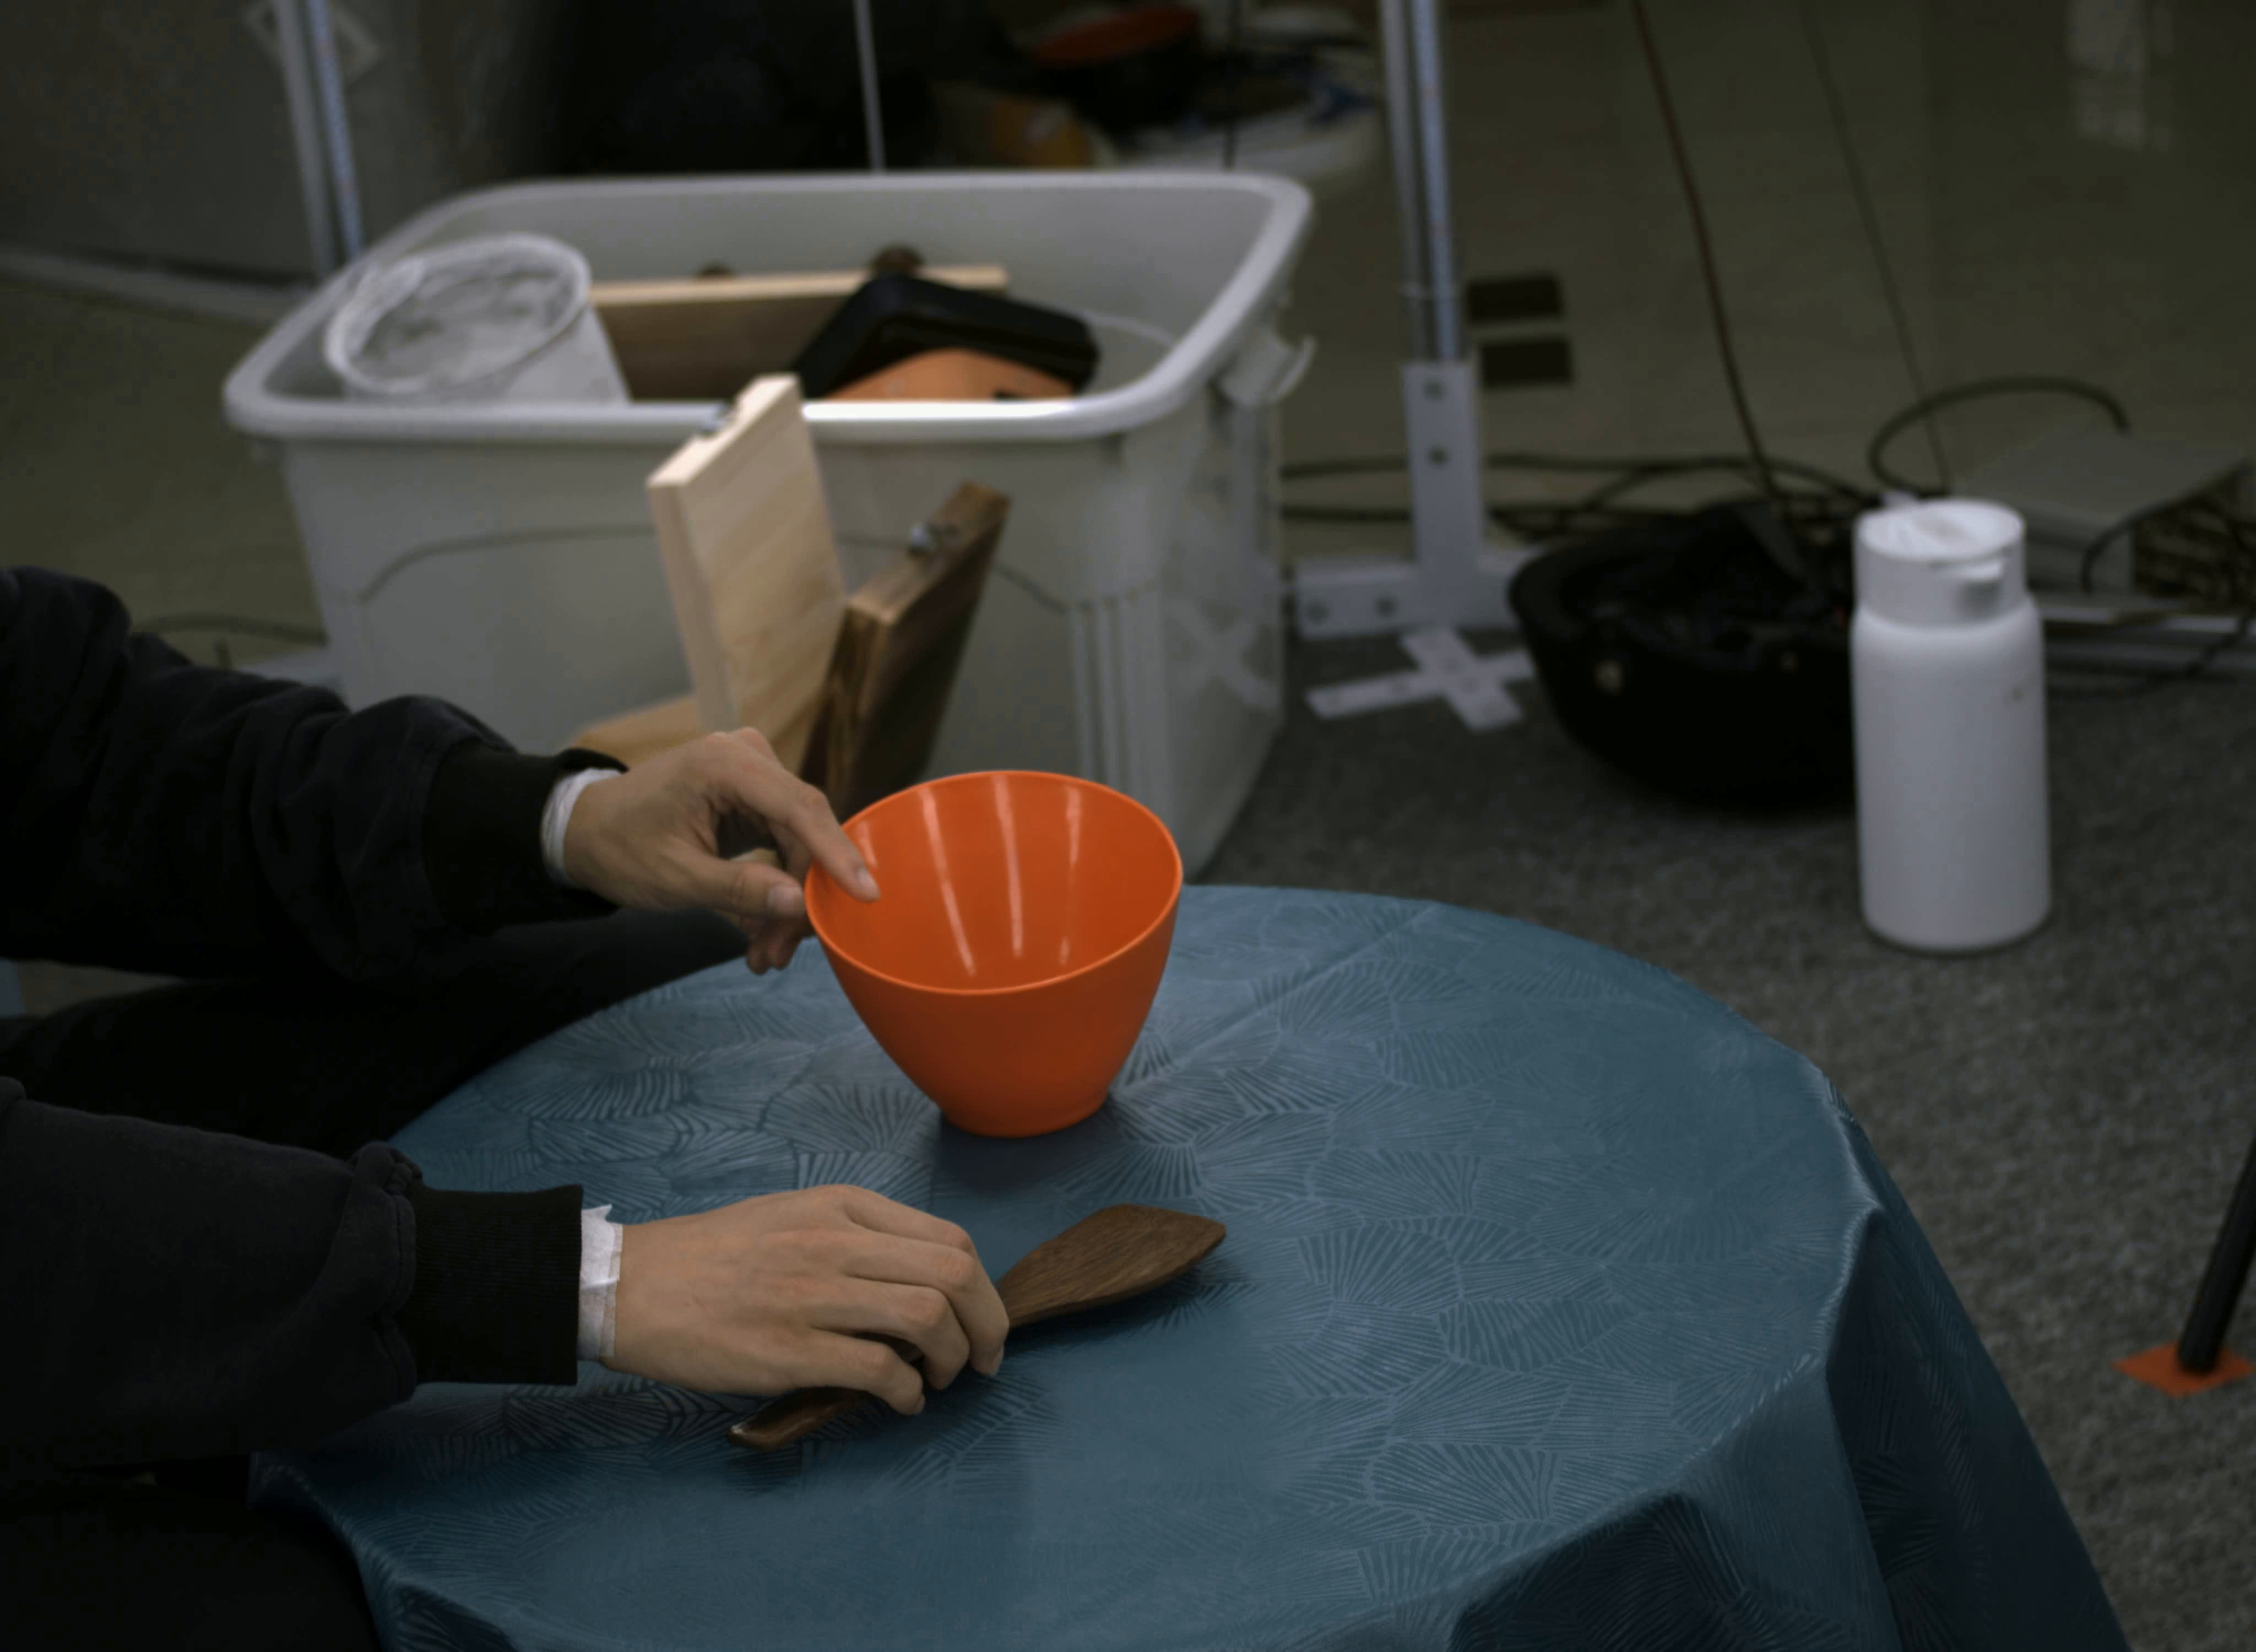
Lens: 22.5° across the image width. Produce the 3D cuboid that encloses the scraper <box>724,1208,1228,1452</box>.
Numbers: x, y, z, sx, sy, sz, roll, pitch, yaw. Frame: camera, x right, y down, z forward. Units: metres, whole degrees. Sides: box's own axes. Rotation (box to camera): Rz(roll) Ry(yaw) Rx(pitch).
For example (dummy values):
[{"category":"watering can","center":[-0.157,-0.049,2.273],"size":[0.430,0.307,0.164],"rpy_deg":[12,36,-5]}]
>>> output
[{"category":"scraper","center":[-0.058,0.183,2.048],"size":[0.210,0.011,0.075],"rpy_deg":[-23,20,-36]}]

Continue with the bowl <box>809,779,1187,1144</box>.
[{"category":"bowl","center":[-0.046,0.059,2.216],"size":[0.148,0.106,0.146],"rpy_deg":[-5,25,3]}]
